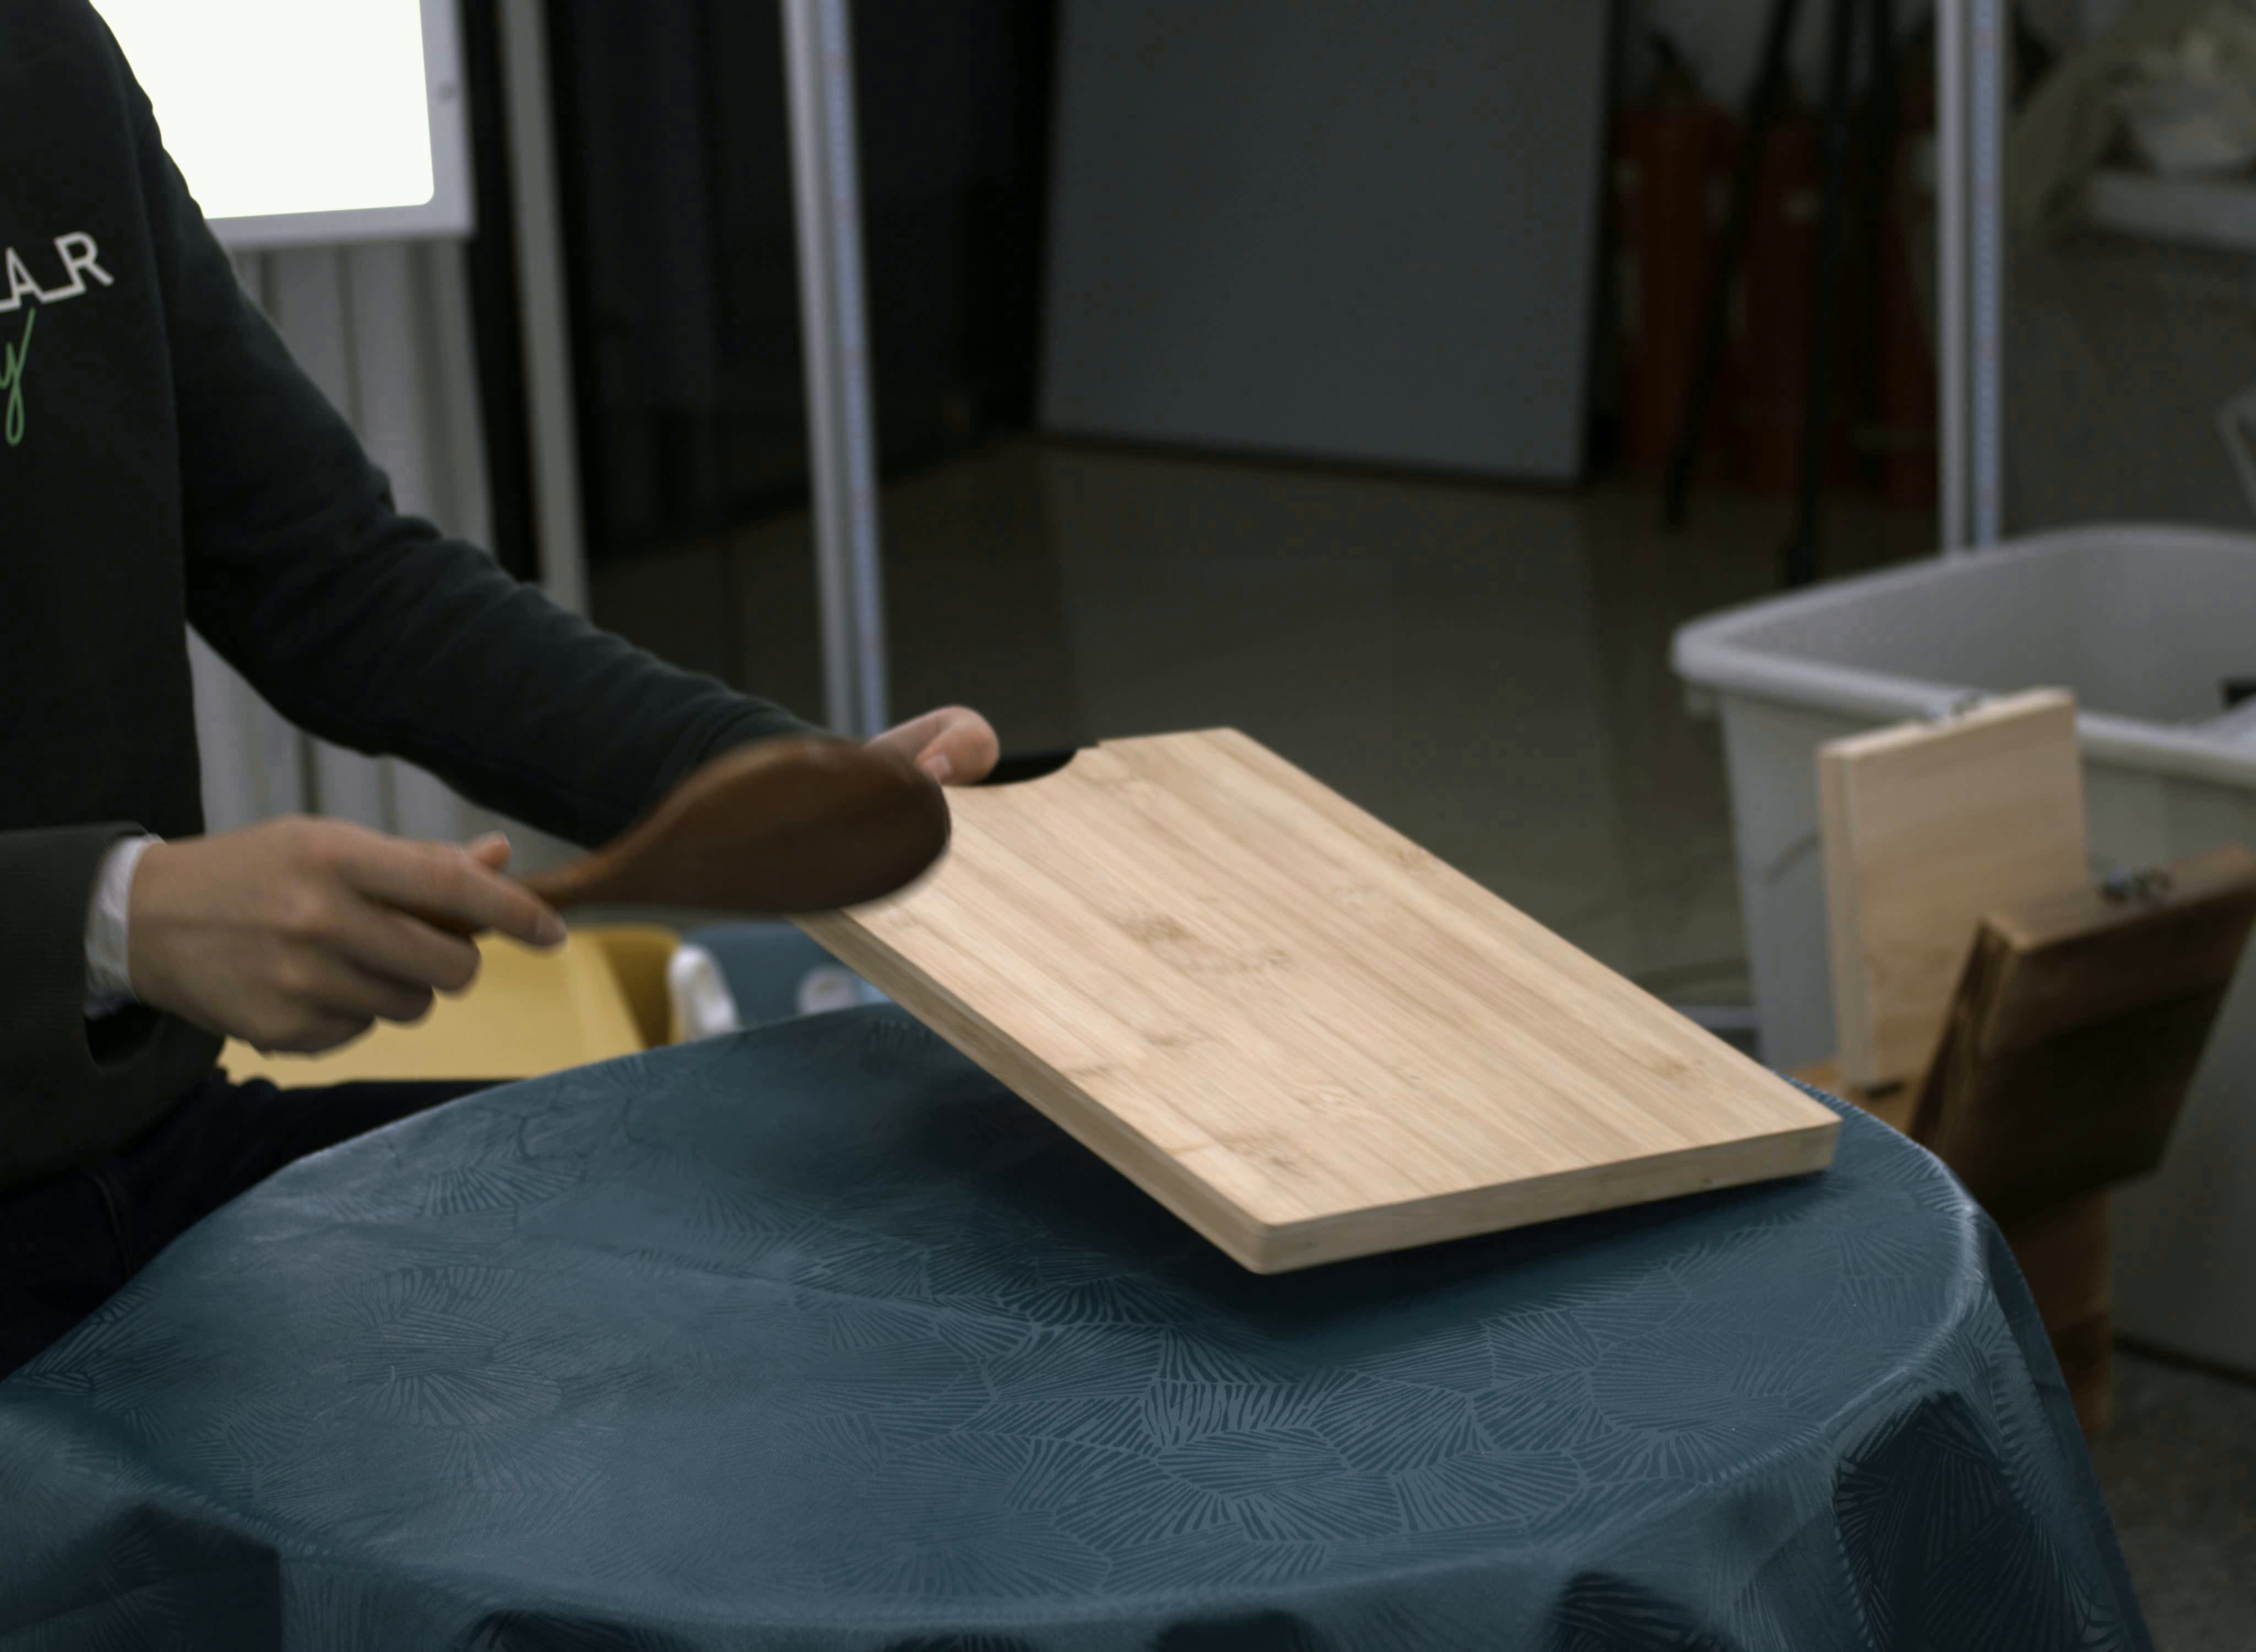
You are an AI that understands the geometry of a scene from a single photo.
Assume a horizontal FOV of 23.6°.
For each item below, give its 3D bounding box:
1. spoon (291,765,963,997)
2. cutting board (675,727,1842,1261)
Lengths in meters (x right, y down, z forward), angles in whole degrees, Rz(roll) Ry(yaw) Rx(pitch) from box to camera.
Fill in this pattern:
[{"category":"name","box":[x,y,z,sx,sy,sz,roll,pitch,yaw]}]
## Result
[{"category":"spoon","box":[-0.150,0.022,1.603,0.215,0.075,0.017,-12,52,18]},{"category":"cutting board","box":[0.037,0.049,1.798,0.245,0.024,0.352,-7,26,-37]}]
